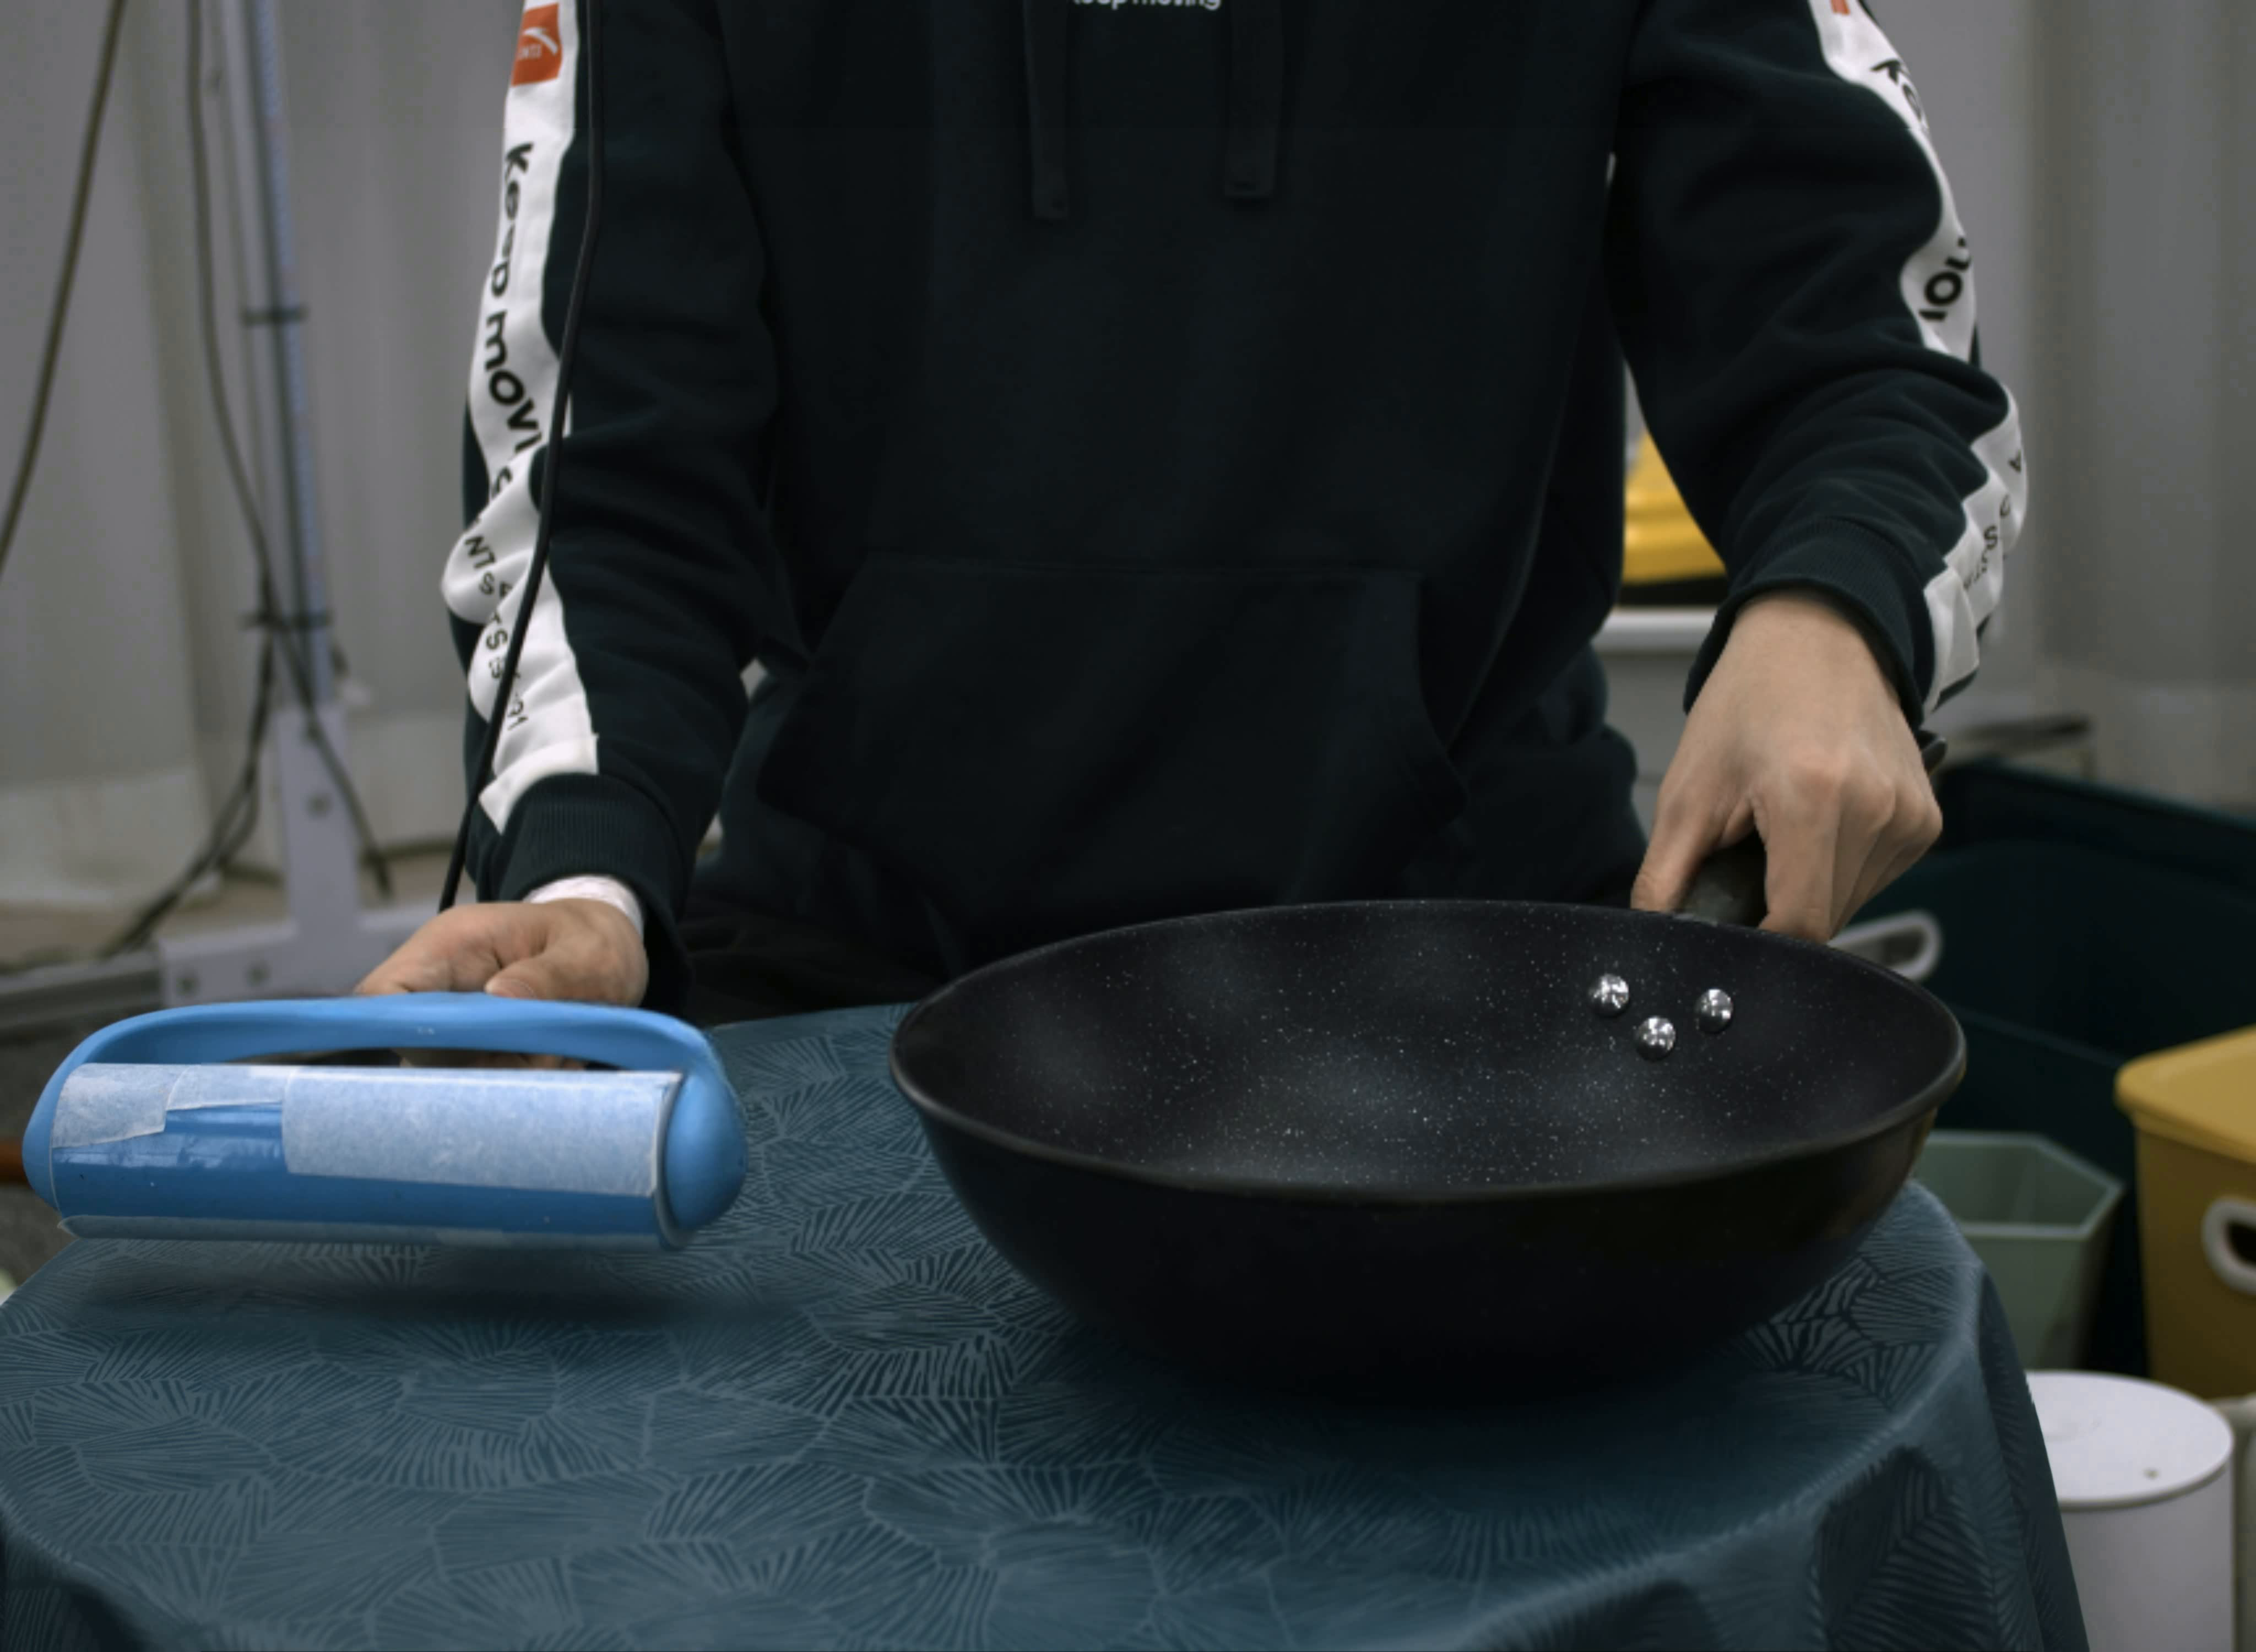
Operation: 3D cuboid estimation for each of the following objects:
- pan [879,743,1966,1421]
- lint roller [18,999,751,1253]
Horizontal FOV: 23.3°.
[{"bbox_3d":[0.128,0.074,1.636,0.311,0.111,0.476,9,17,32],"label":"pan"},{"bbox_3d":[-0.214,0.084,1.695,0.228,0.067,0.181,-3,14,11],"label":"lint roller"}]
